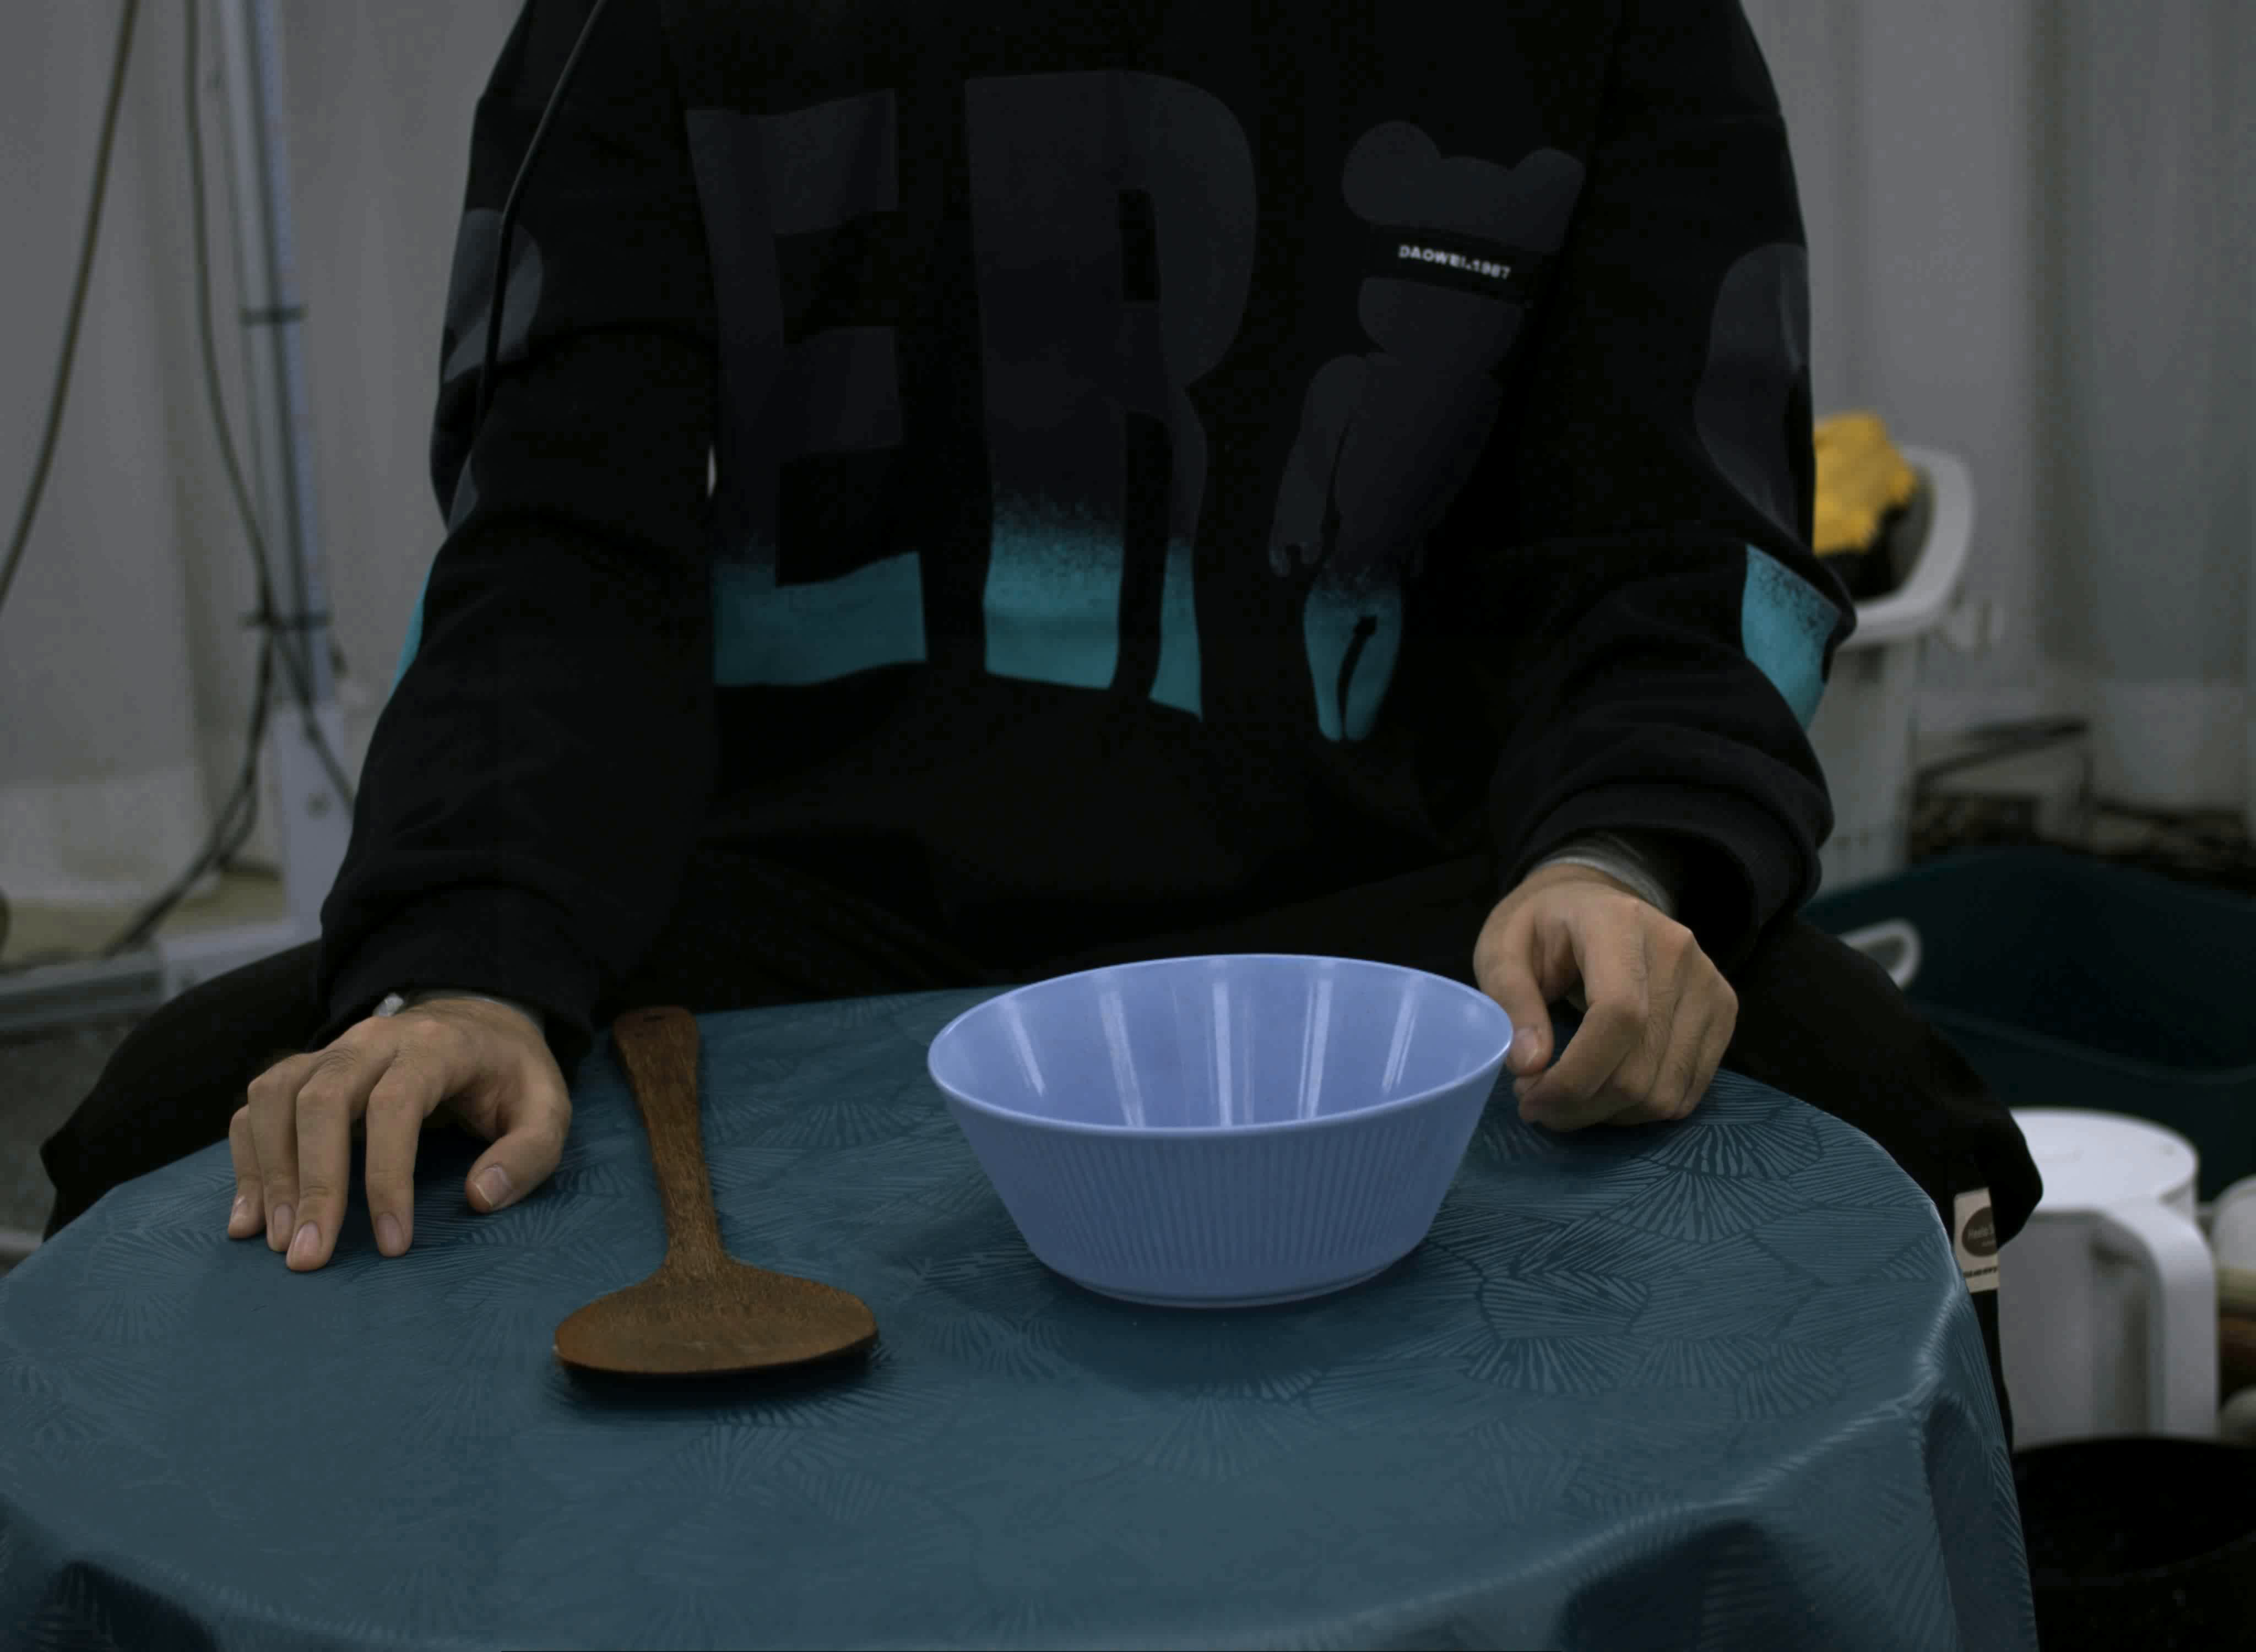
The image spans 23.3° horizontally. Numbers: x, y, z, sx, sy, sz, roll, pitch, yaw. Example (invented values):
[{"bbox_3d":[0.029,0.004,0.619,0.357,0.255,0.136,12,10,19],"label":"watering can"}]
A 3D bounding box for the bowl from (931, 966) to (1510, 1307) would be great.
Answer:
[{"bbox_3d":[0.029,0.096,1.647,0.175,0.070,0.177,-3,13,0],"label":"bowl"}]

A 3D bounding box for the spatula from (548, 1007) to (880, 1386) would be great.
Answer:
[{"bbox_3d":[-0.142,0.111,1.729,0.096,0.016,0.389,-4,15,-7],"label":"spatula"}]
